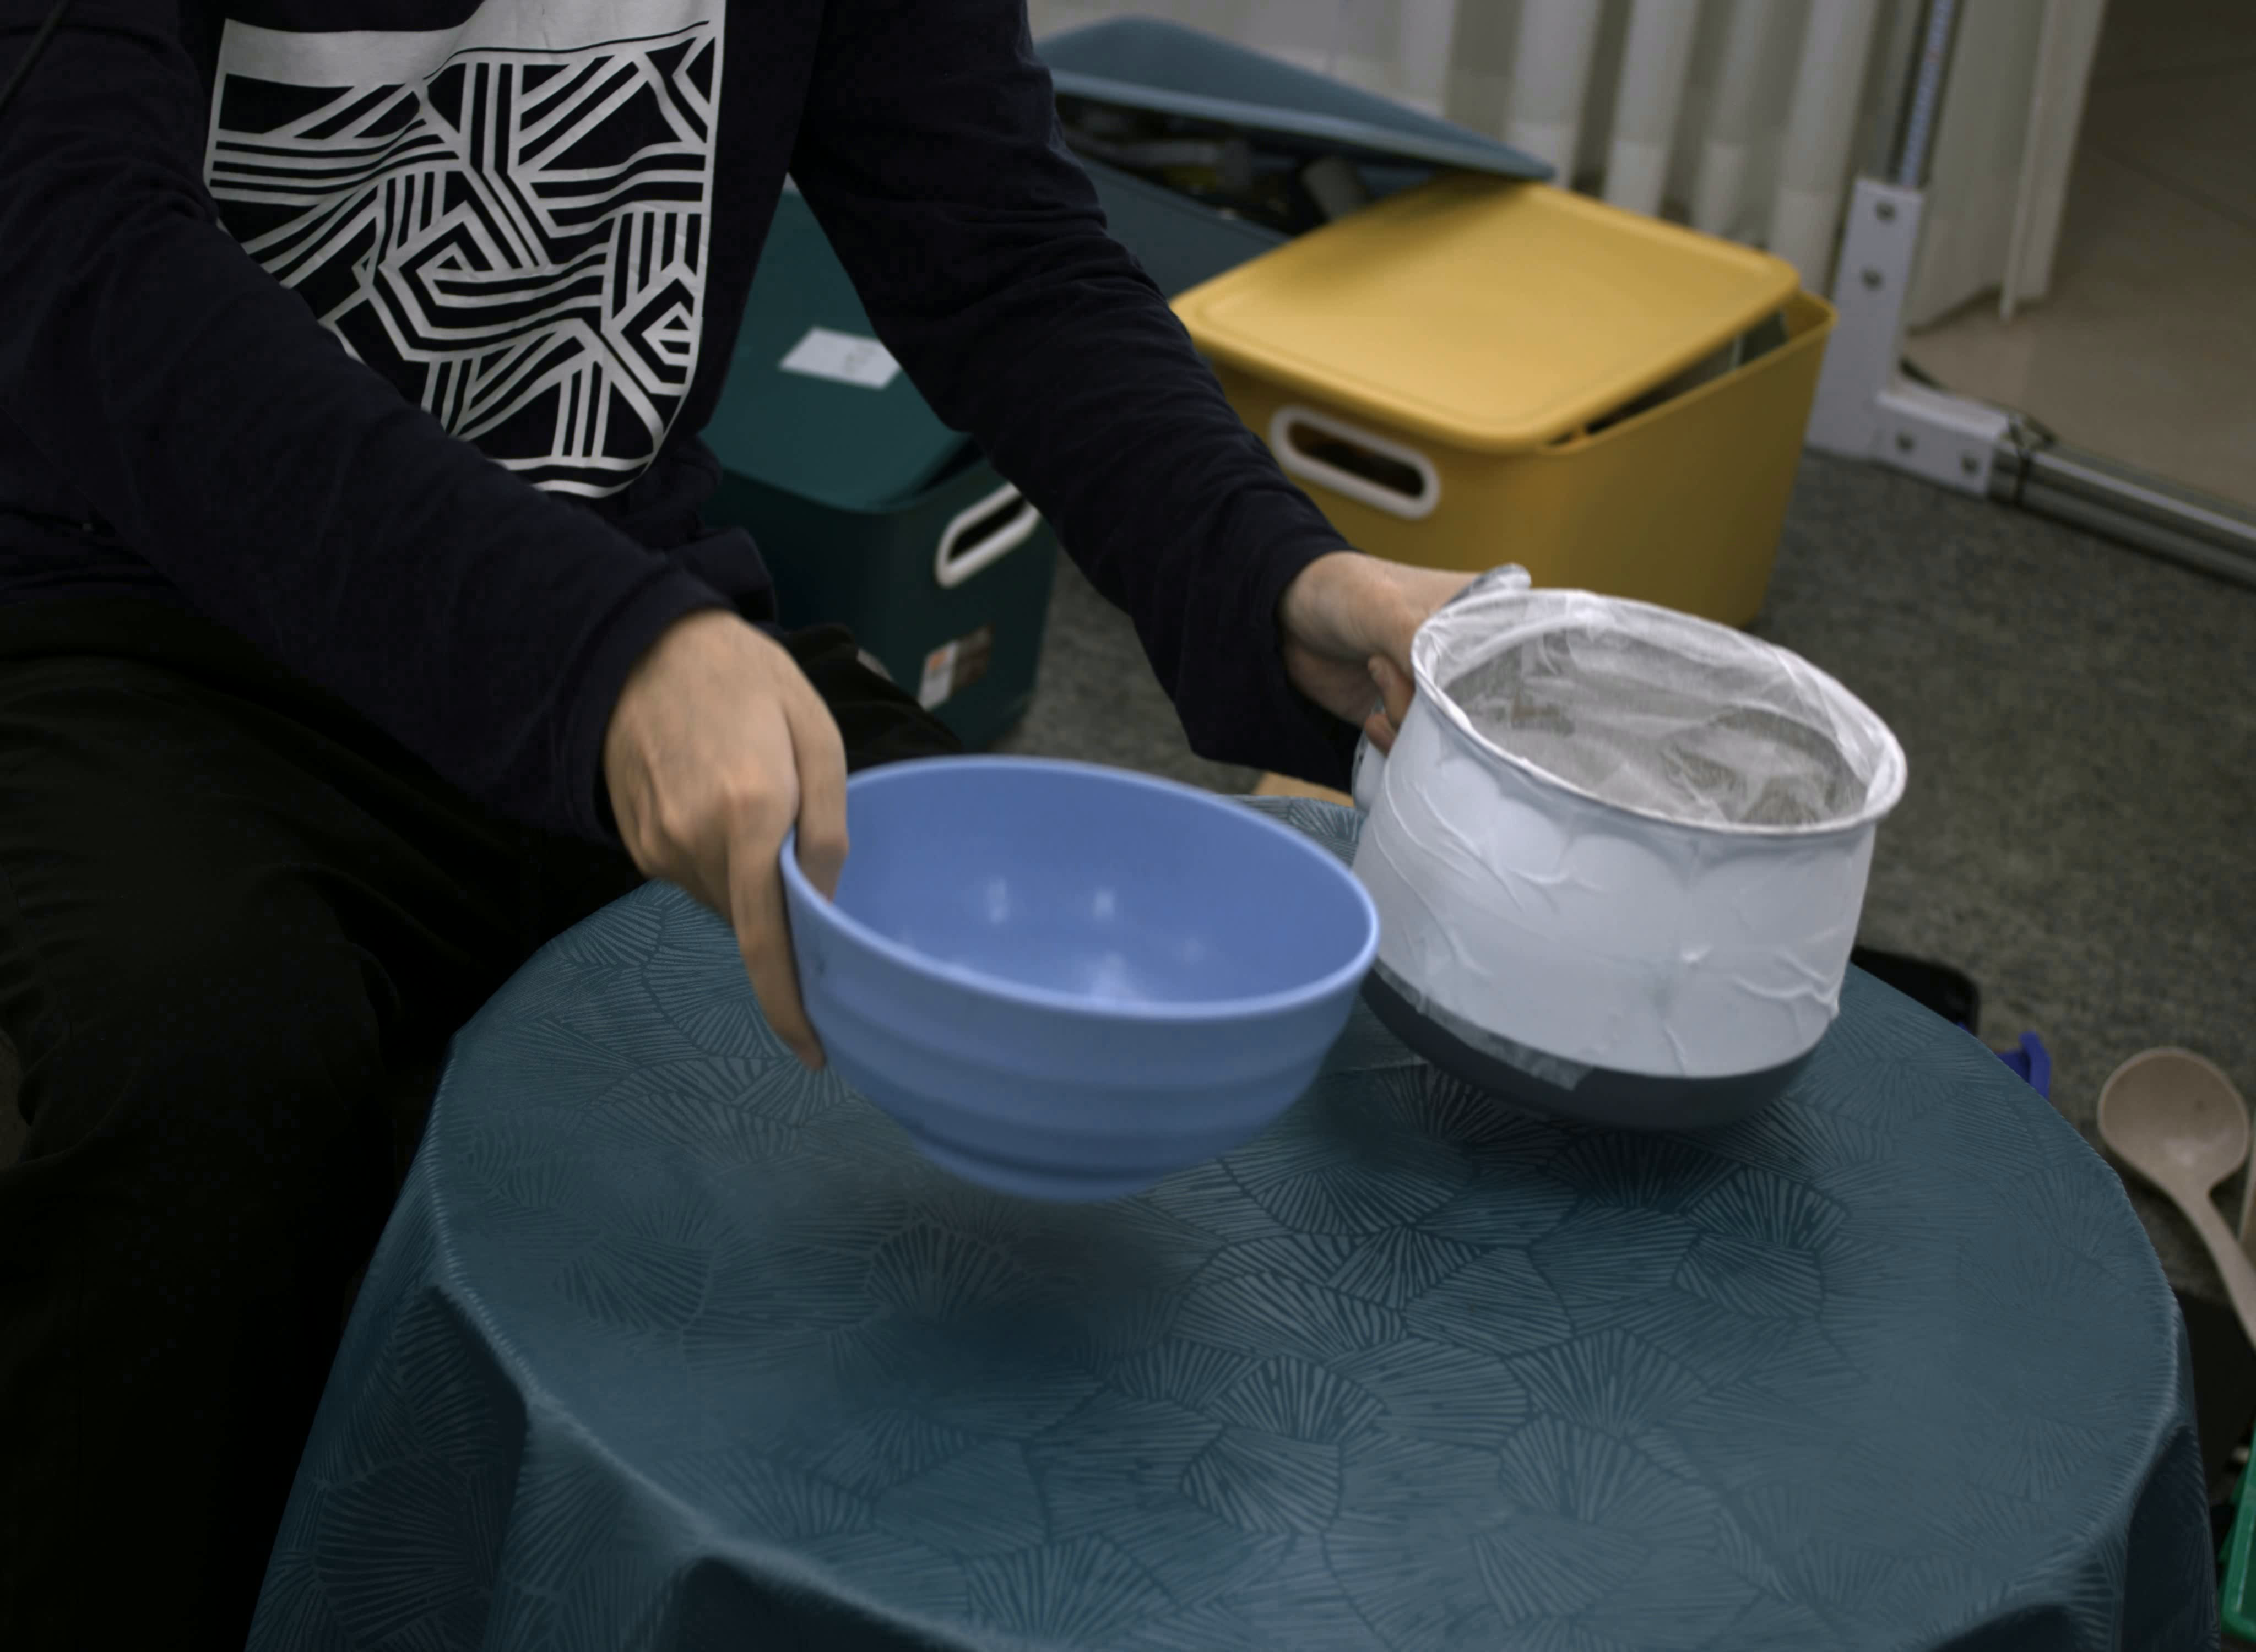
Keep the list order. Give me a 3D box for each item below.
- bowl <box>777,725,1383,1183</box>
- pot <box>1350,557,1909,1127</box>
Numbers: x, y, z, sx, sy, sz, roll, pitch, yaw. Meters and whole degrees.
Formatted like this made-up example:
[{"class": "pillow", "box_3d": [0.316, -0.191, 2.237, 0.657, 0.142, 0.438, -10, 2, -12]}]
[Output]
[{"class": "bowl", "box_3d": [-0.021, 0.052, 1.728, 0.196, 0.095, 0.197, 7, 27, -4]}, {"class": "pot", "box_3d": [0.156, -0.001, 1.884, 0.177, 0.136, 0.236, -1, 29, -32]}]
